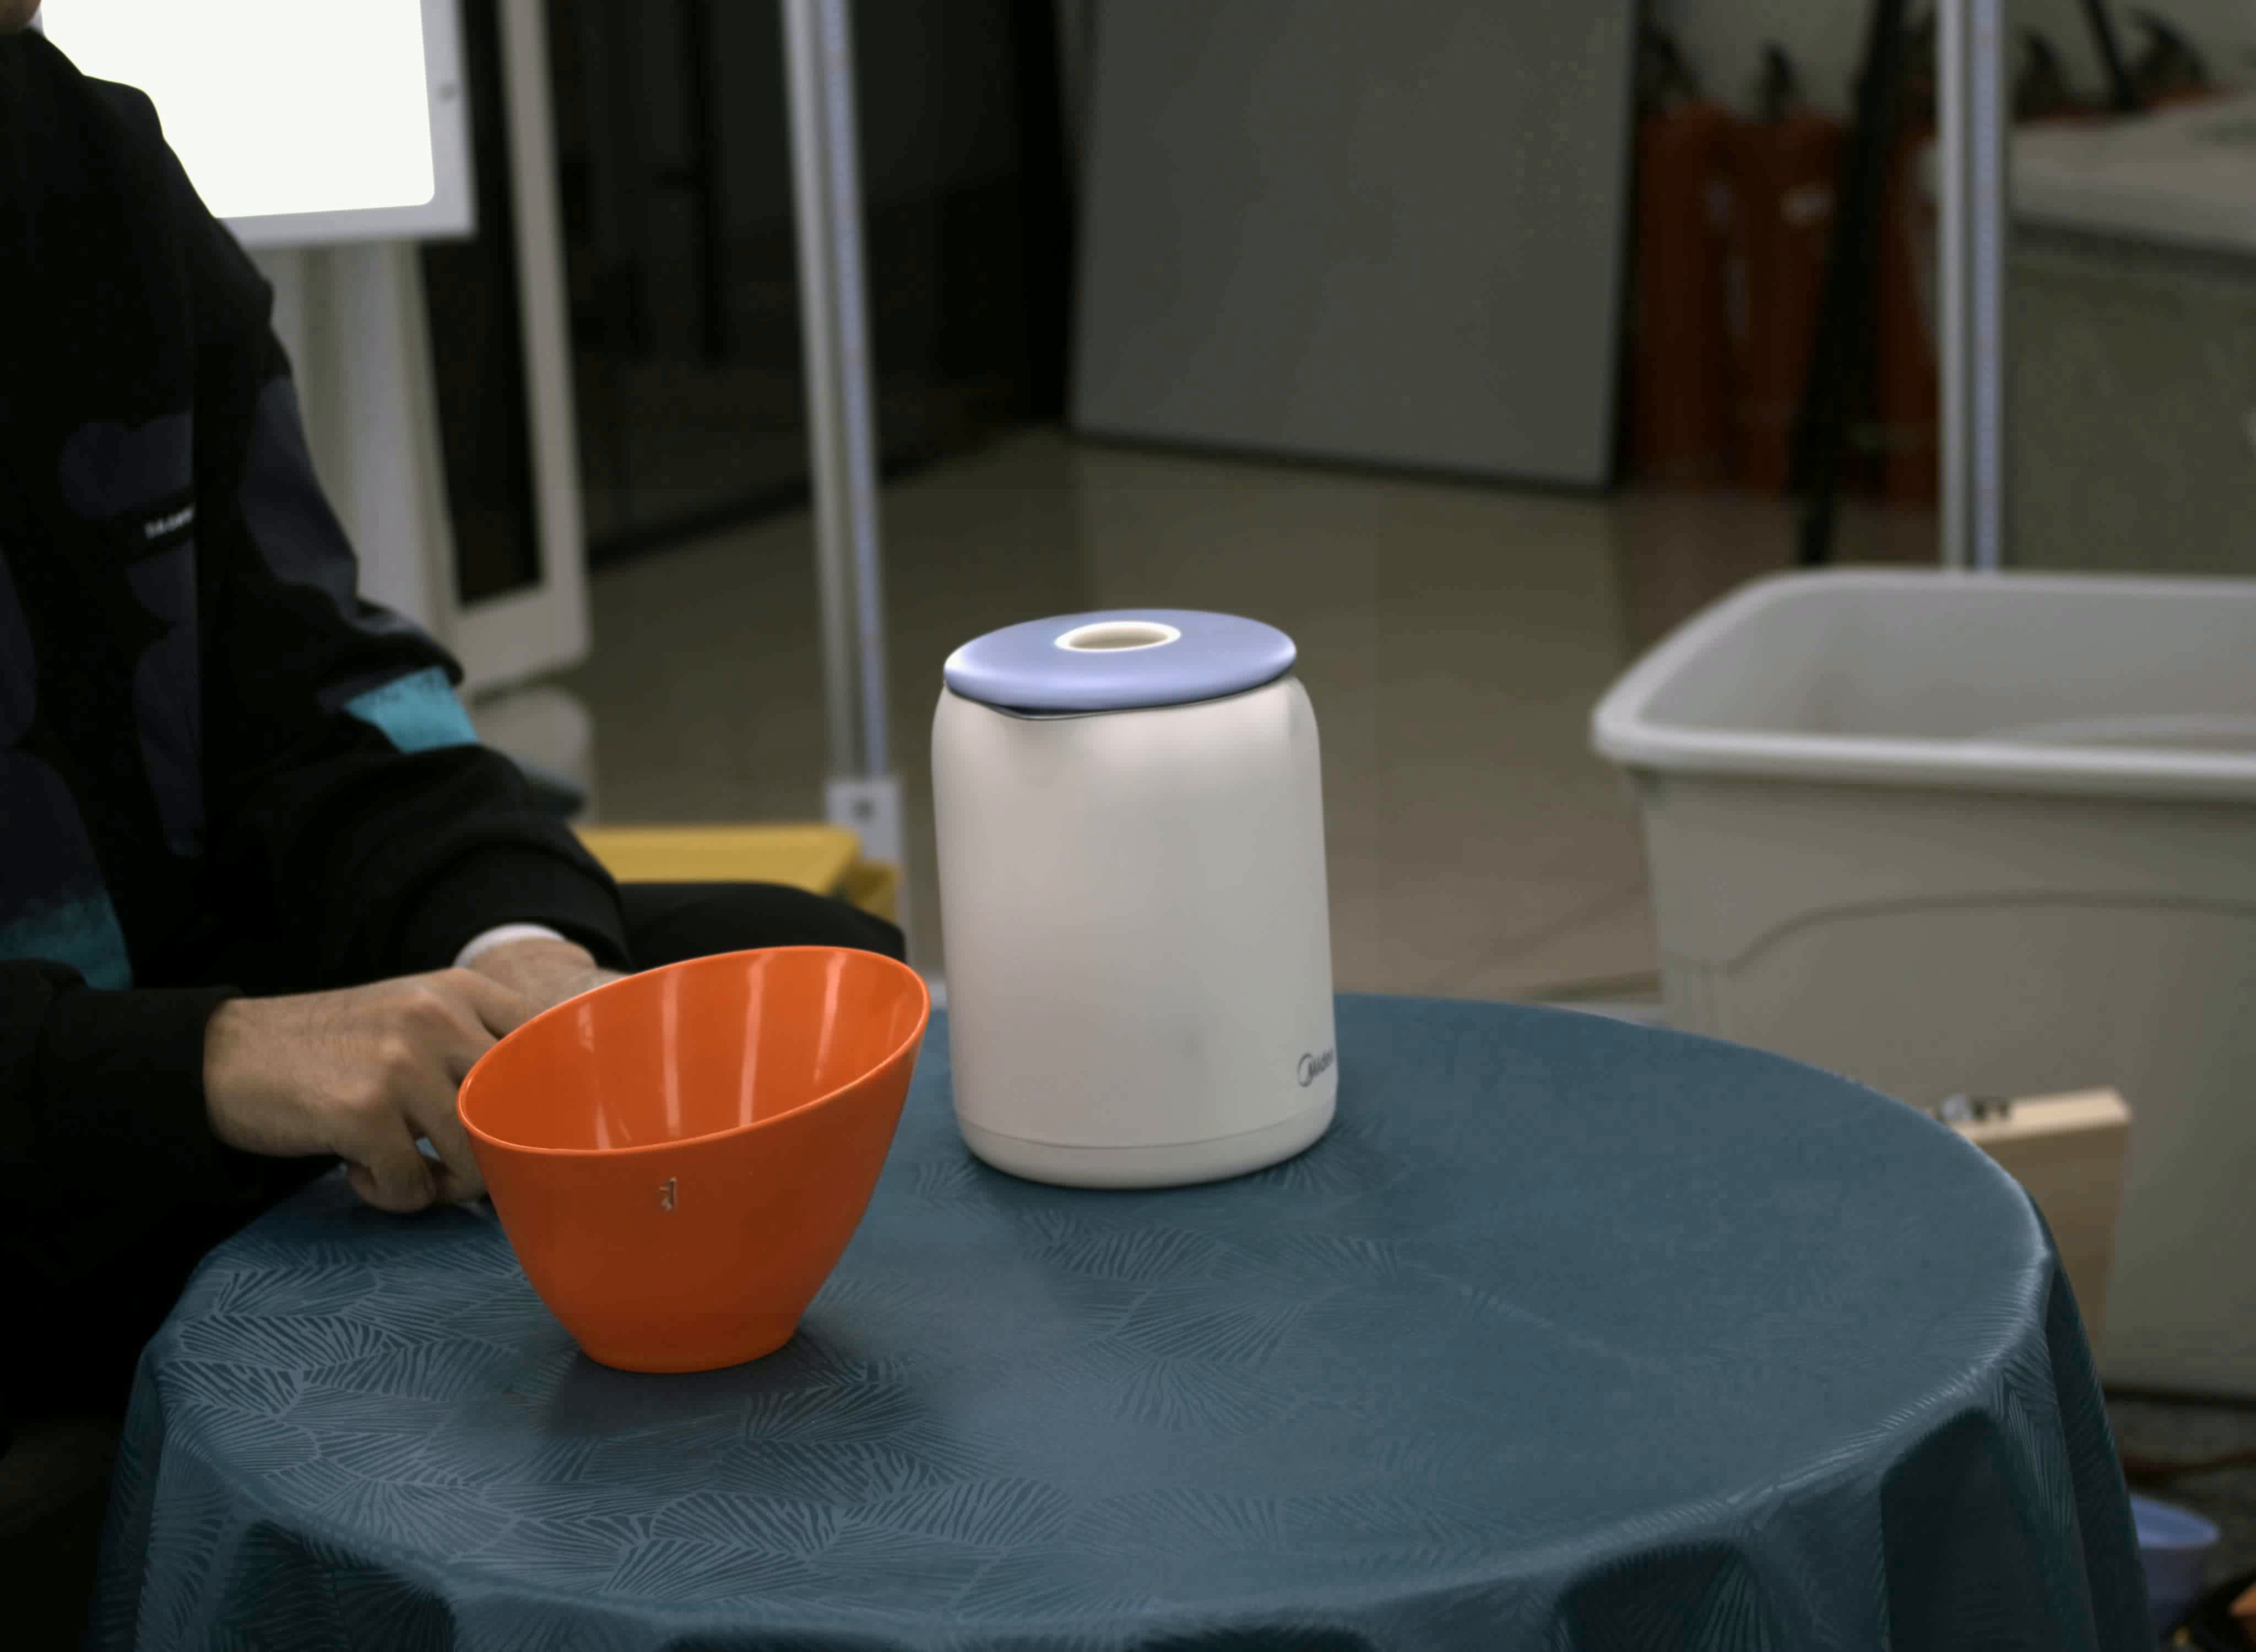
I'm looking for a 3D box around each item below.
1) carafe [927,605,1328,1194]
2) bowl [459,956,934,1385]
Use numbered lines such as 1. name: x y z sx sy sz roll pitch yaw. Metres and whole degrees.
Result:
1. carafe: 0.010 0.018 1.828 0.132 0.184 0.188 4 13 24
2. bowl: -0.128 0.108 1.652 0.146 0.106 0.148 -4 13 0
